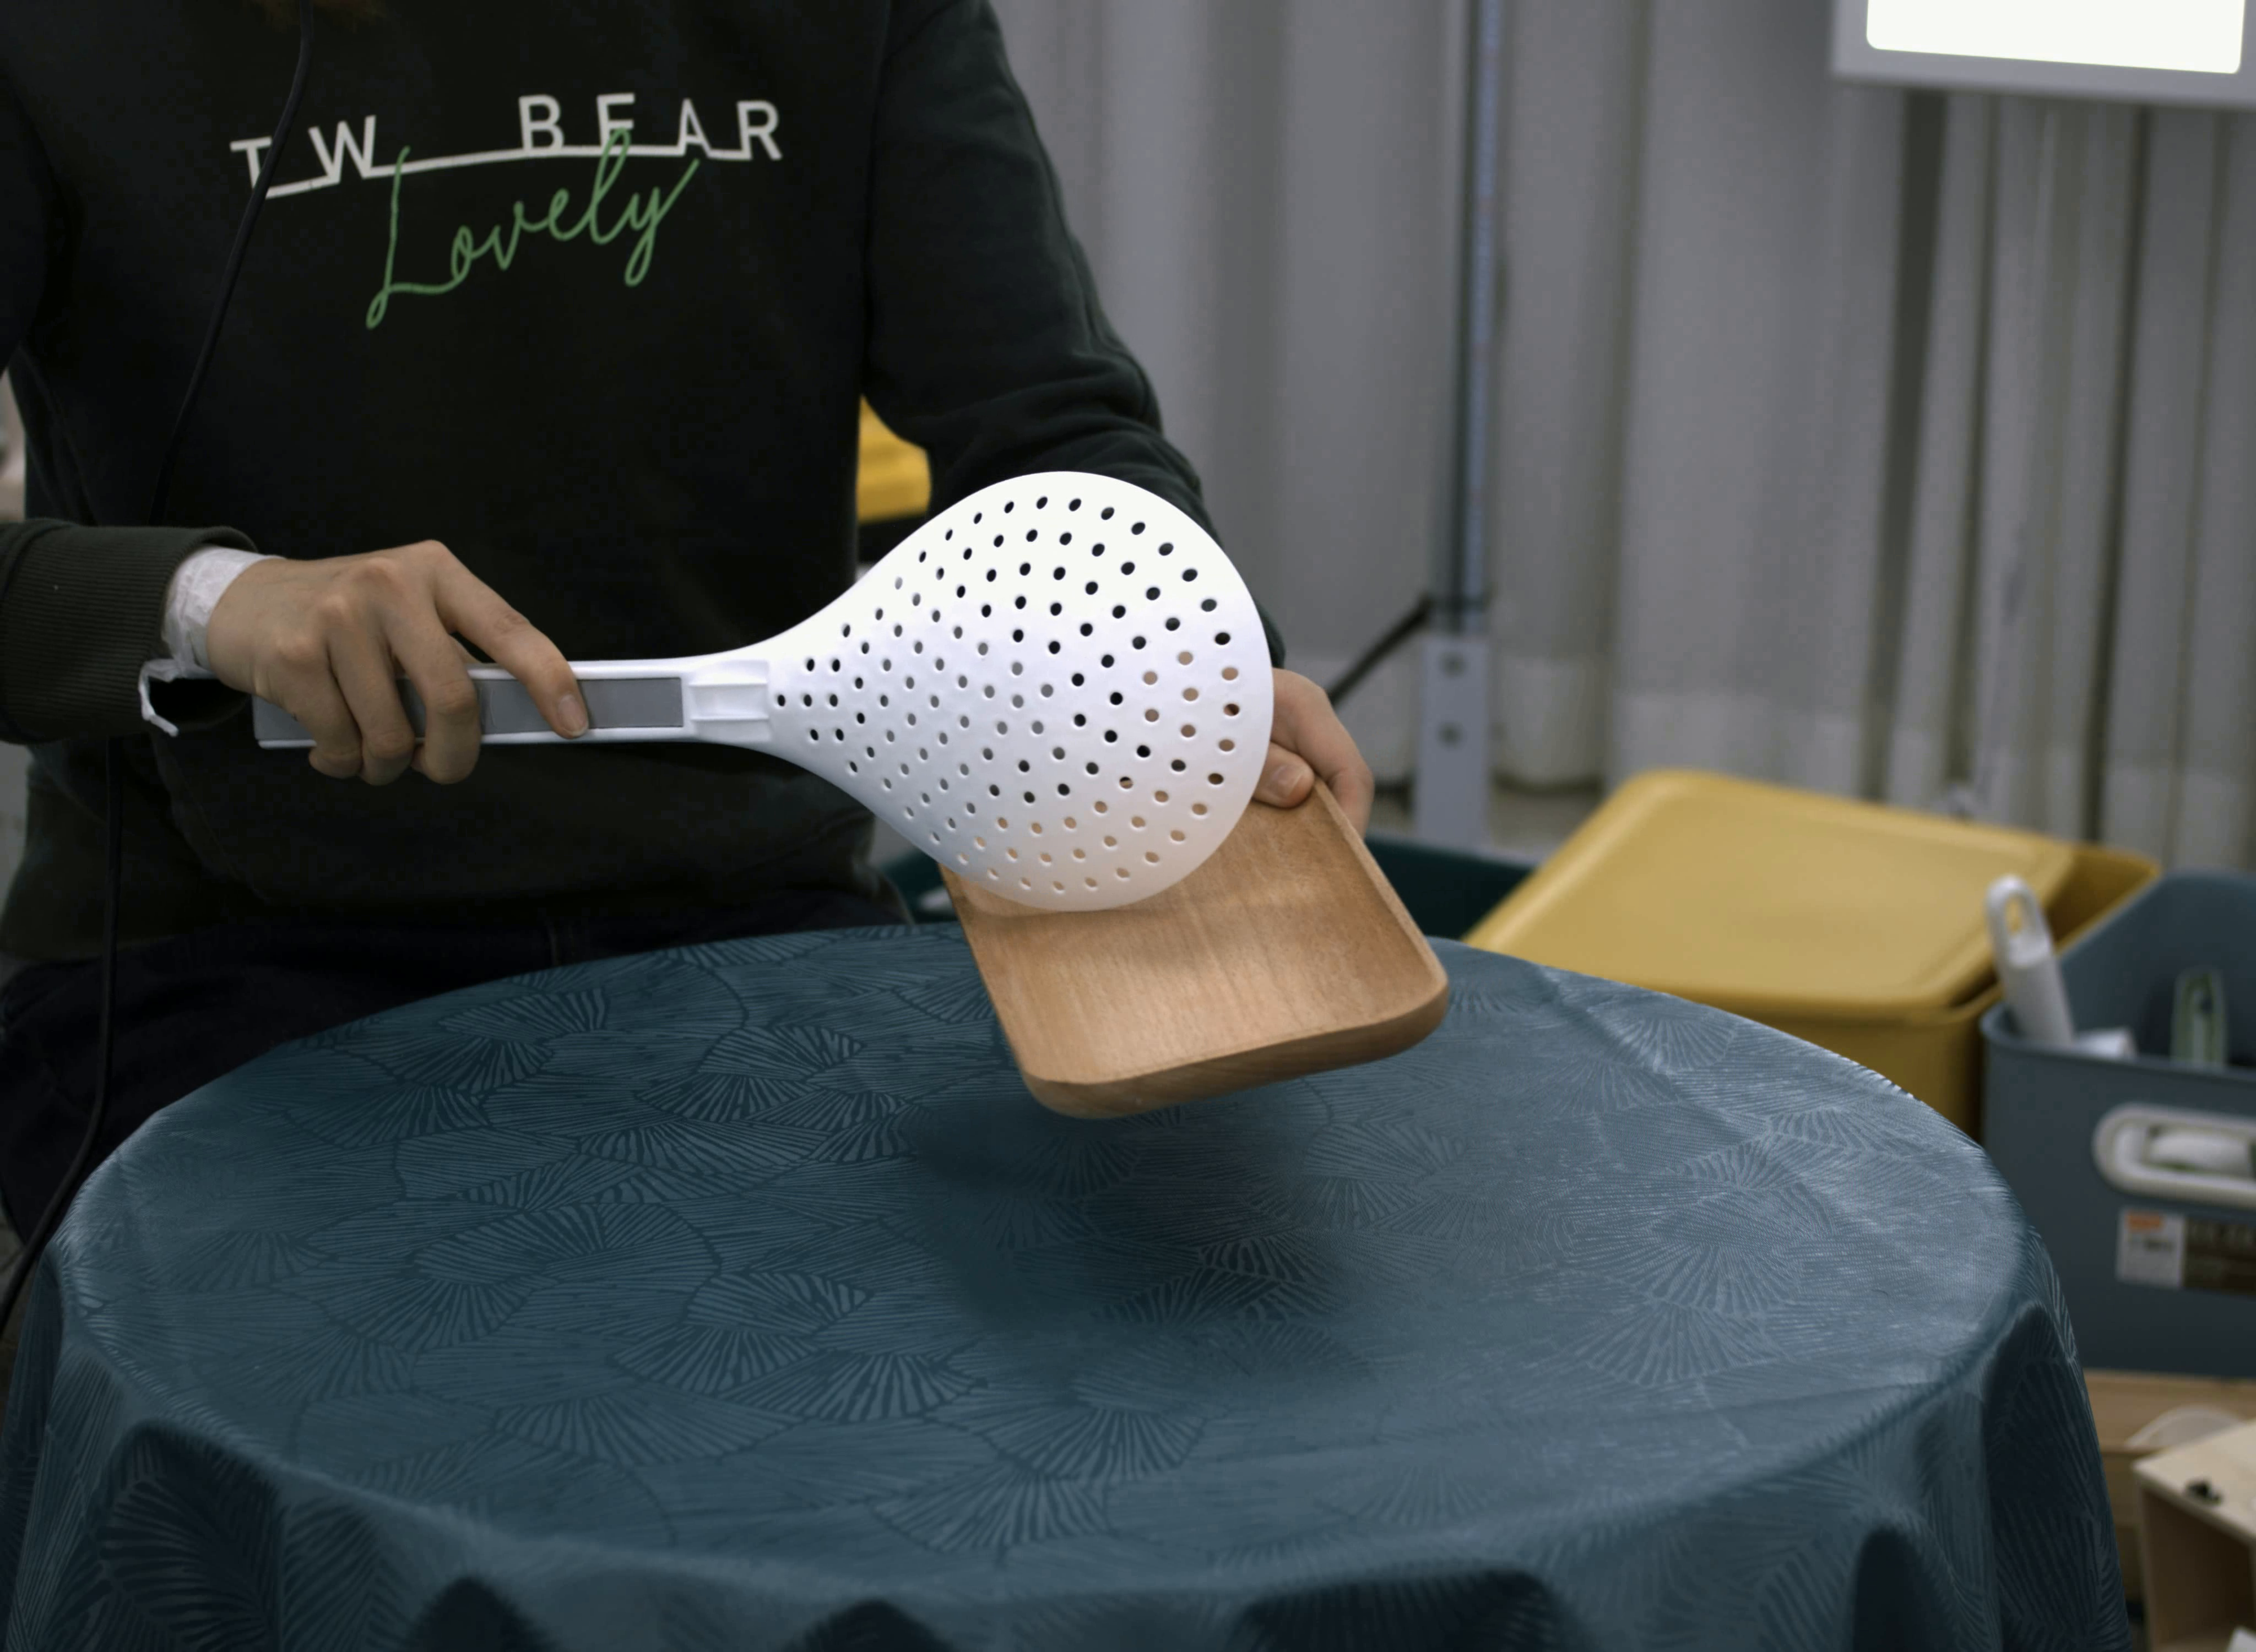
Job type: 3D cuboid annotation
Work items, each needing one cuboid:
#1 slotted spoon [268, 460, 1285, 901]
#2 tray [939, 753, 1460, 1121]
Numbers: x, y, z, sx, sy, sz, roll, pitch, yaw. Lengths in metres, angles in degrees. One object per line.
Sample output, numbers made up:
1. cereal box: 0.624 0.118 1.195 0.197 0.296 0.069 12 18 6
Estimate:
1. slotted spoon: -0.118 -0.040 1.656 0.346 0.136 0.046 -2 4 26
2. tray: 0.018 0.031 1.608 0.130 0.023 0.248 -10 19 -6
